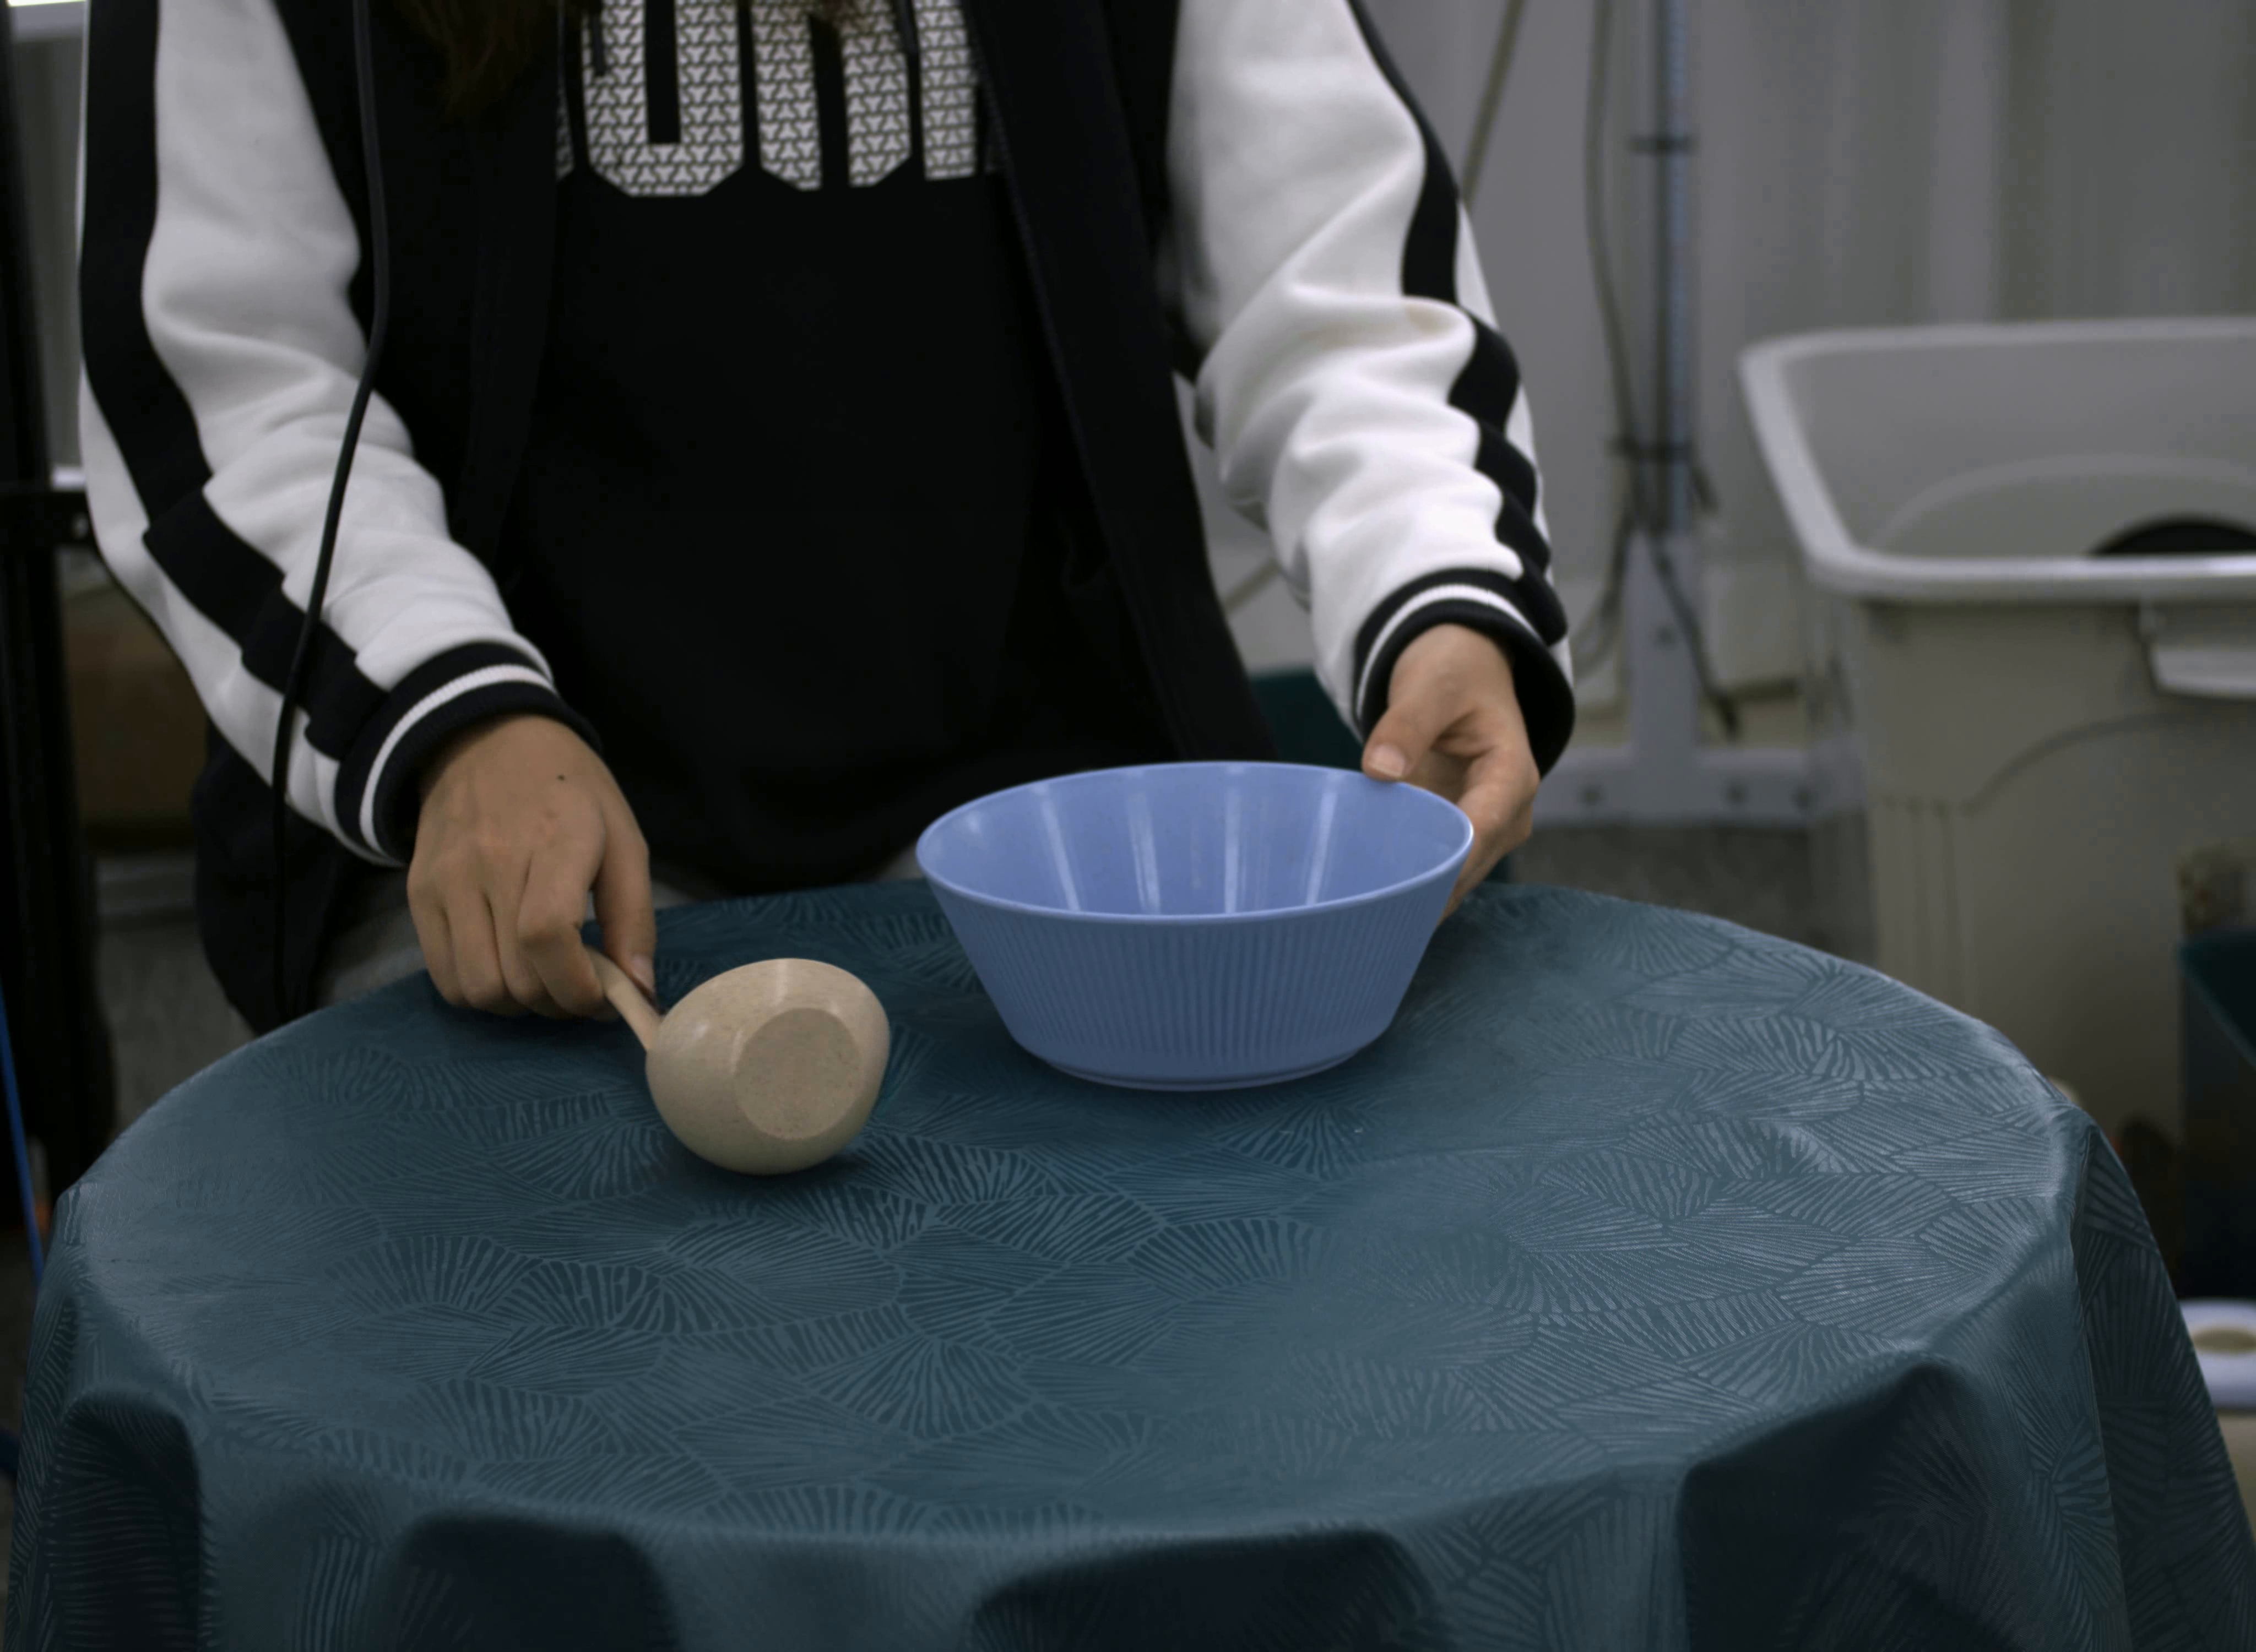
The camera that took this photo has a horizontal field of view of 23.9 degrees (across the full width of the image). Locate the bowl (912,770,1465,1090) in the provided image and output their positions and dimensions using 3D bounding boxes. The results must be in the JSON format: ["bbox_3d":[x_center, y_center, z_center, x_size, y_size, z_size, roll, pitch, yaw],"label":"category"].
[{"bbox_3d":[0.019,0.035,1.685,0.175,0.070,0.177,-2,16,-1],"label":"bowl"}]

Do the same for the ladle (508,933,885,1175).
[{"bbox_3d":[-0.144,0.041,1.669,0.070,0.073,0.259,12,11,-25],"label":"ladle"}]
